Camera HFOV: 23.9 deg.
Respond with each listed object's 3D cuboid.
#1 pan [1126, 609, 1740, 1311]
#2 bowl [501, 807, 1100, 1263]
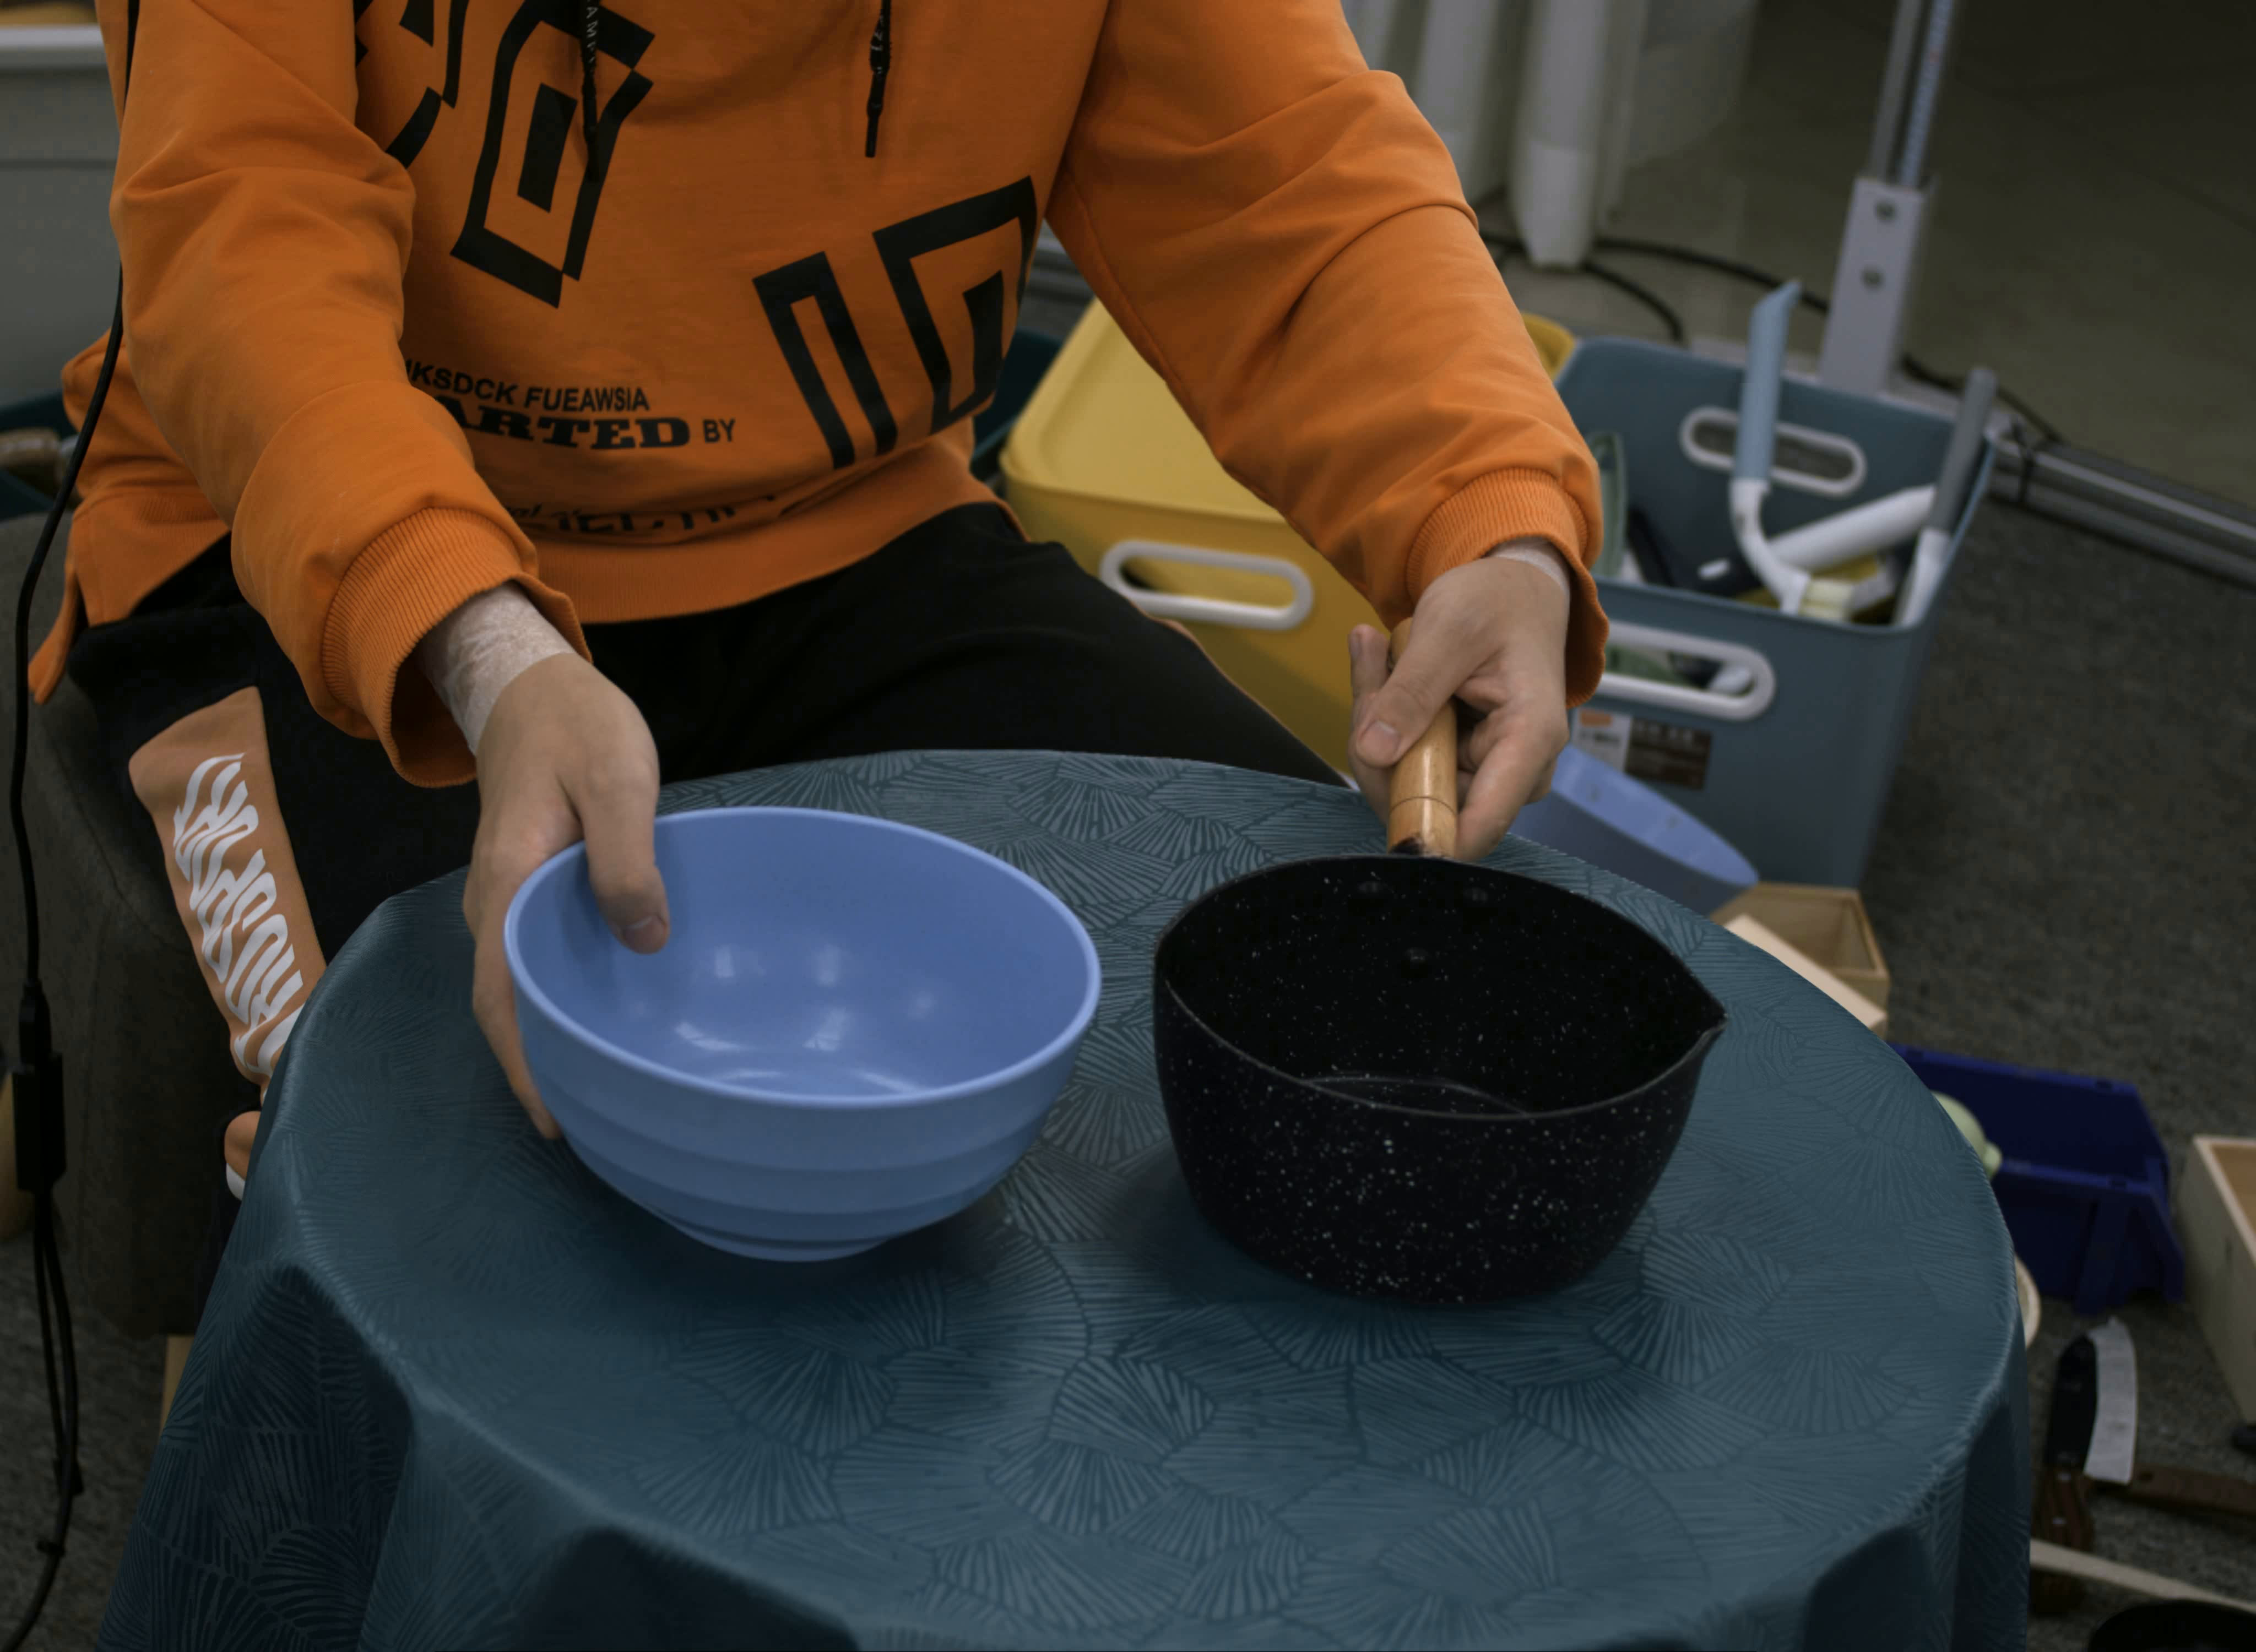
[{"bbox_3d":[0.101,0.043,1.866,0.207,0.108,0.345,4,28,-1],"label":"pan"},{"bbox_3d":[-0.111,0.080,1.758,0.196,0.095,0.198,5,28,-3],"label":"bowl"}]
